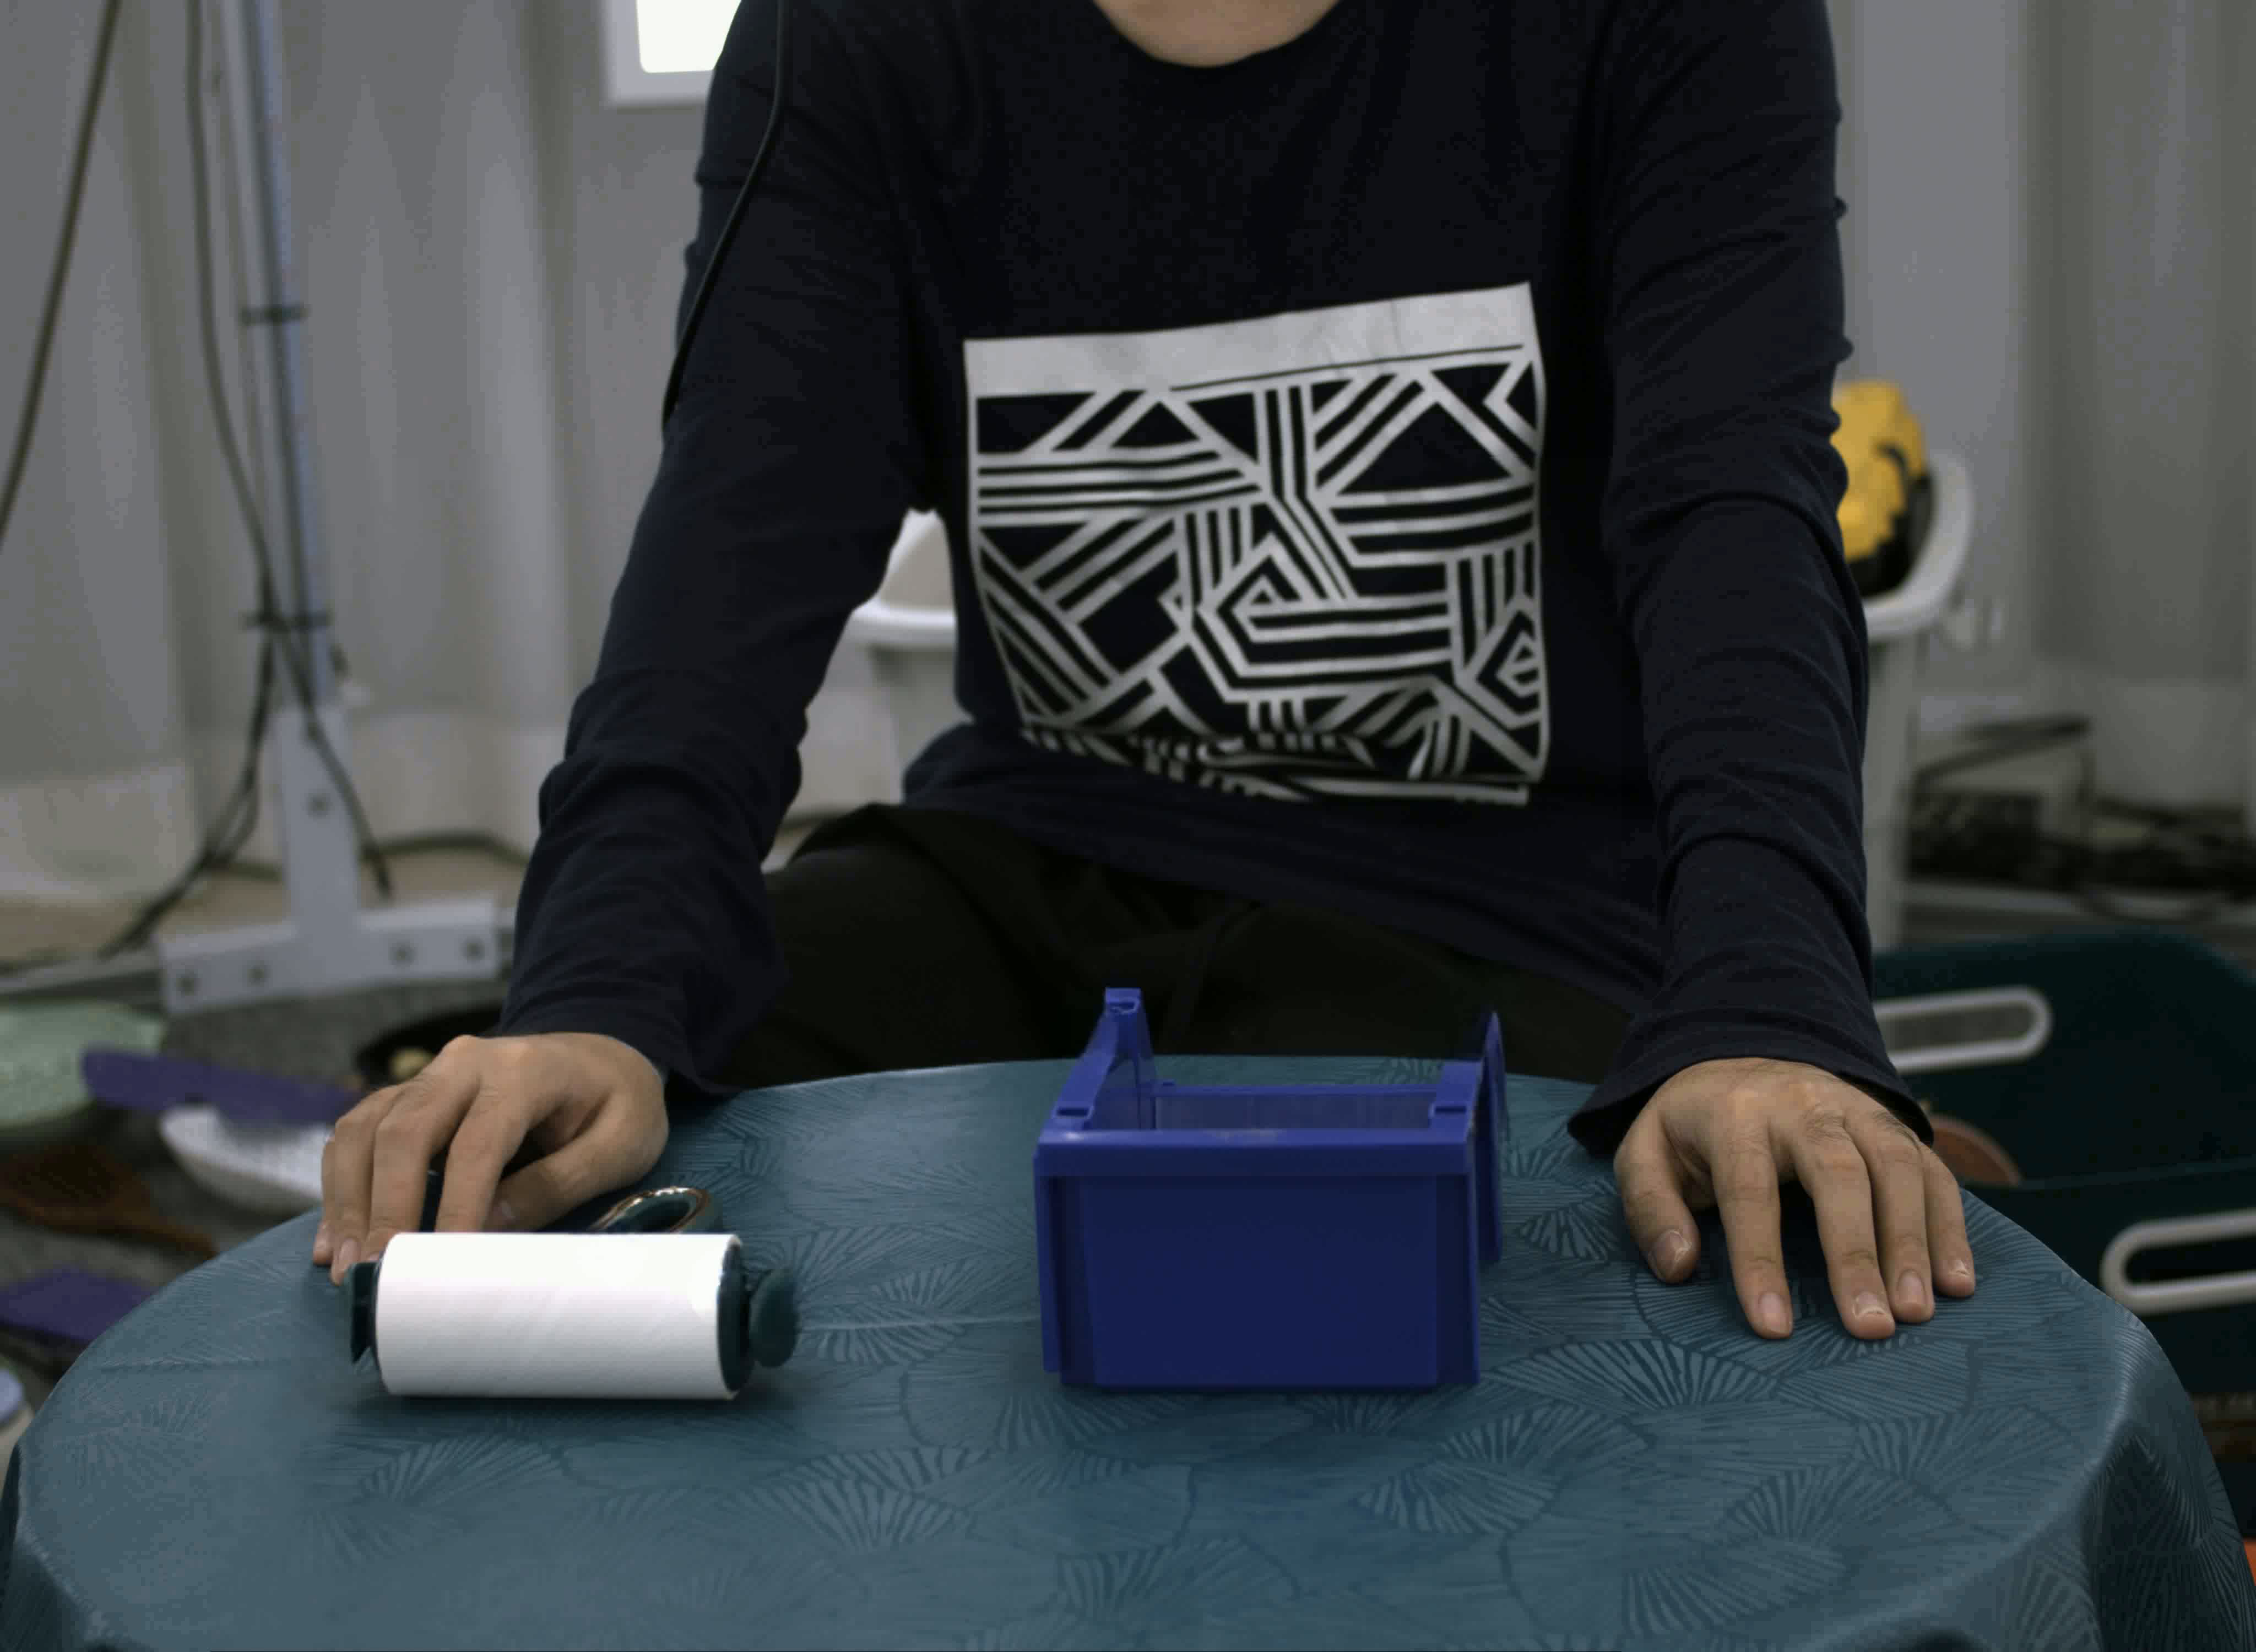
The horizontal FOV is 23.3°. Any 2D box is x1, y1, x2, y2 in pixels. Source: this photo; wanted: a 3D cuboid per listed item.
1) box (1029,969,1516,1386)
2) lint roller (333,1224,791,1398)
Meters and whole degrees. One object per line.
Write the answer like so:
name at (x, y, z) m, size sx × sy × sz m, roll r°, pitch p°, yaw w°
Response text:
box at (0.045, 0.099, 1.611) m, size 0.124 × 0.081 × 0.180 m, roll -1°, pitch 17°, yaw 9°
lint roller at (-0.153, 0.126, 1.626) m, size 0.134 × 0.048 × 0.181 m, roll 0°, pitch 12°, yaw 8°
